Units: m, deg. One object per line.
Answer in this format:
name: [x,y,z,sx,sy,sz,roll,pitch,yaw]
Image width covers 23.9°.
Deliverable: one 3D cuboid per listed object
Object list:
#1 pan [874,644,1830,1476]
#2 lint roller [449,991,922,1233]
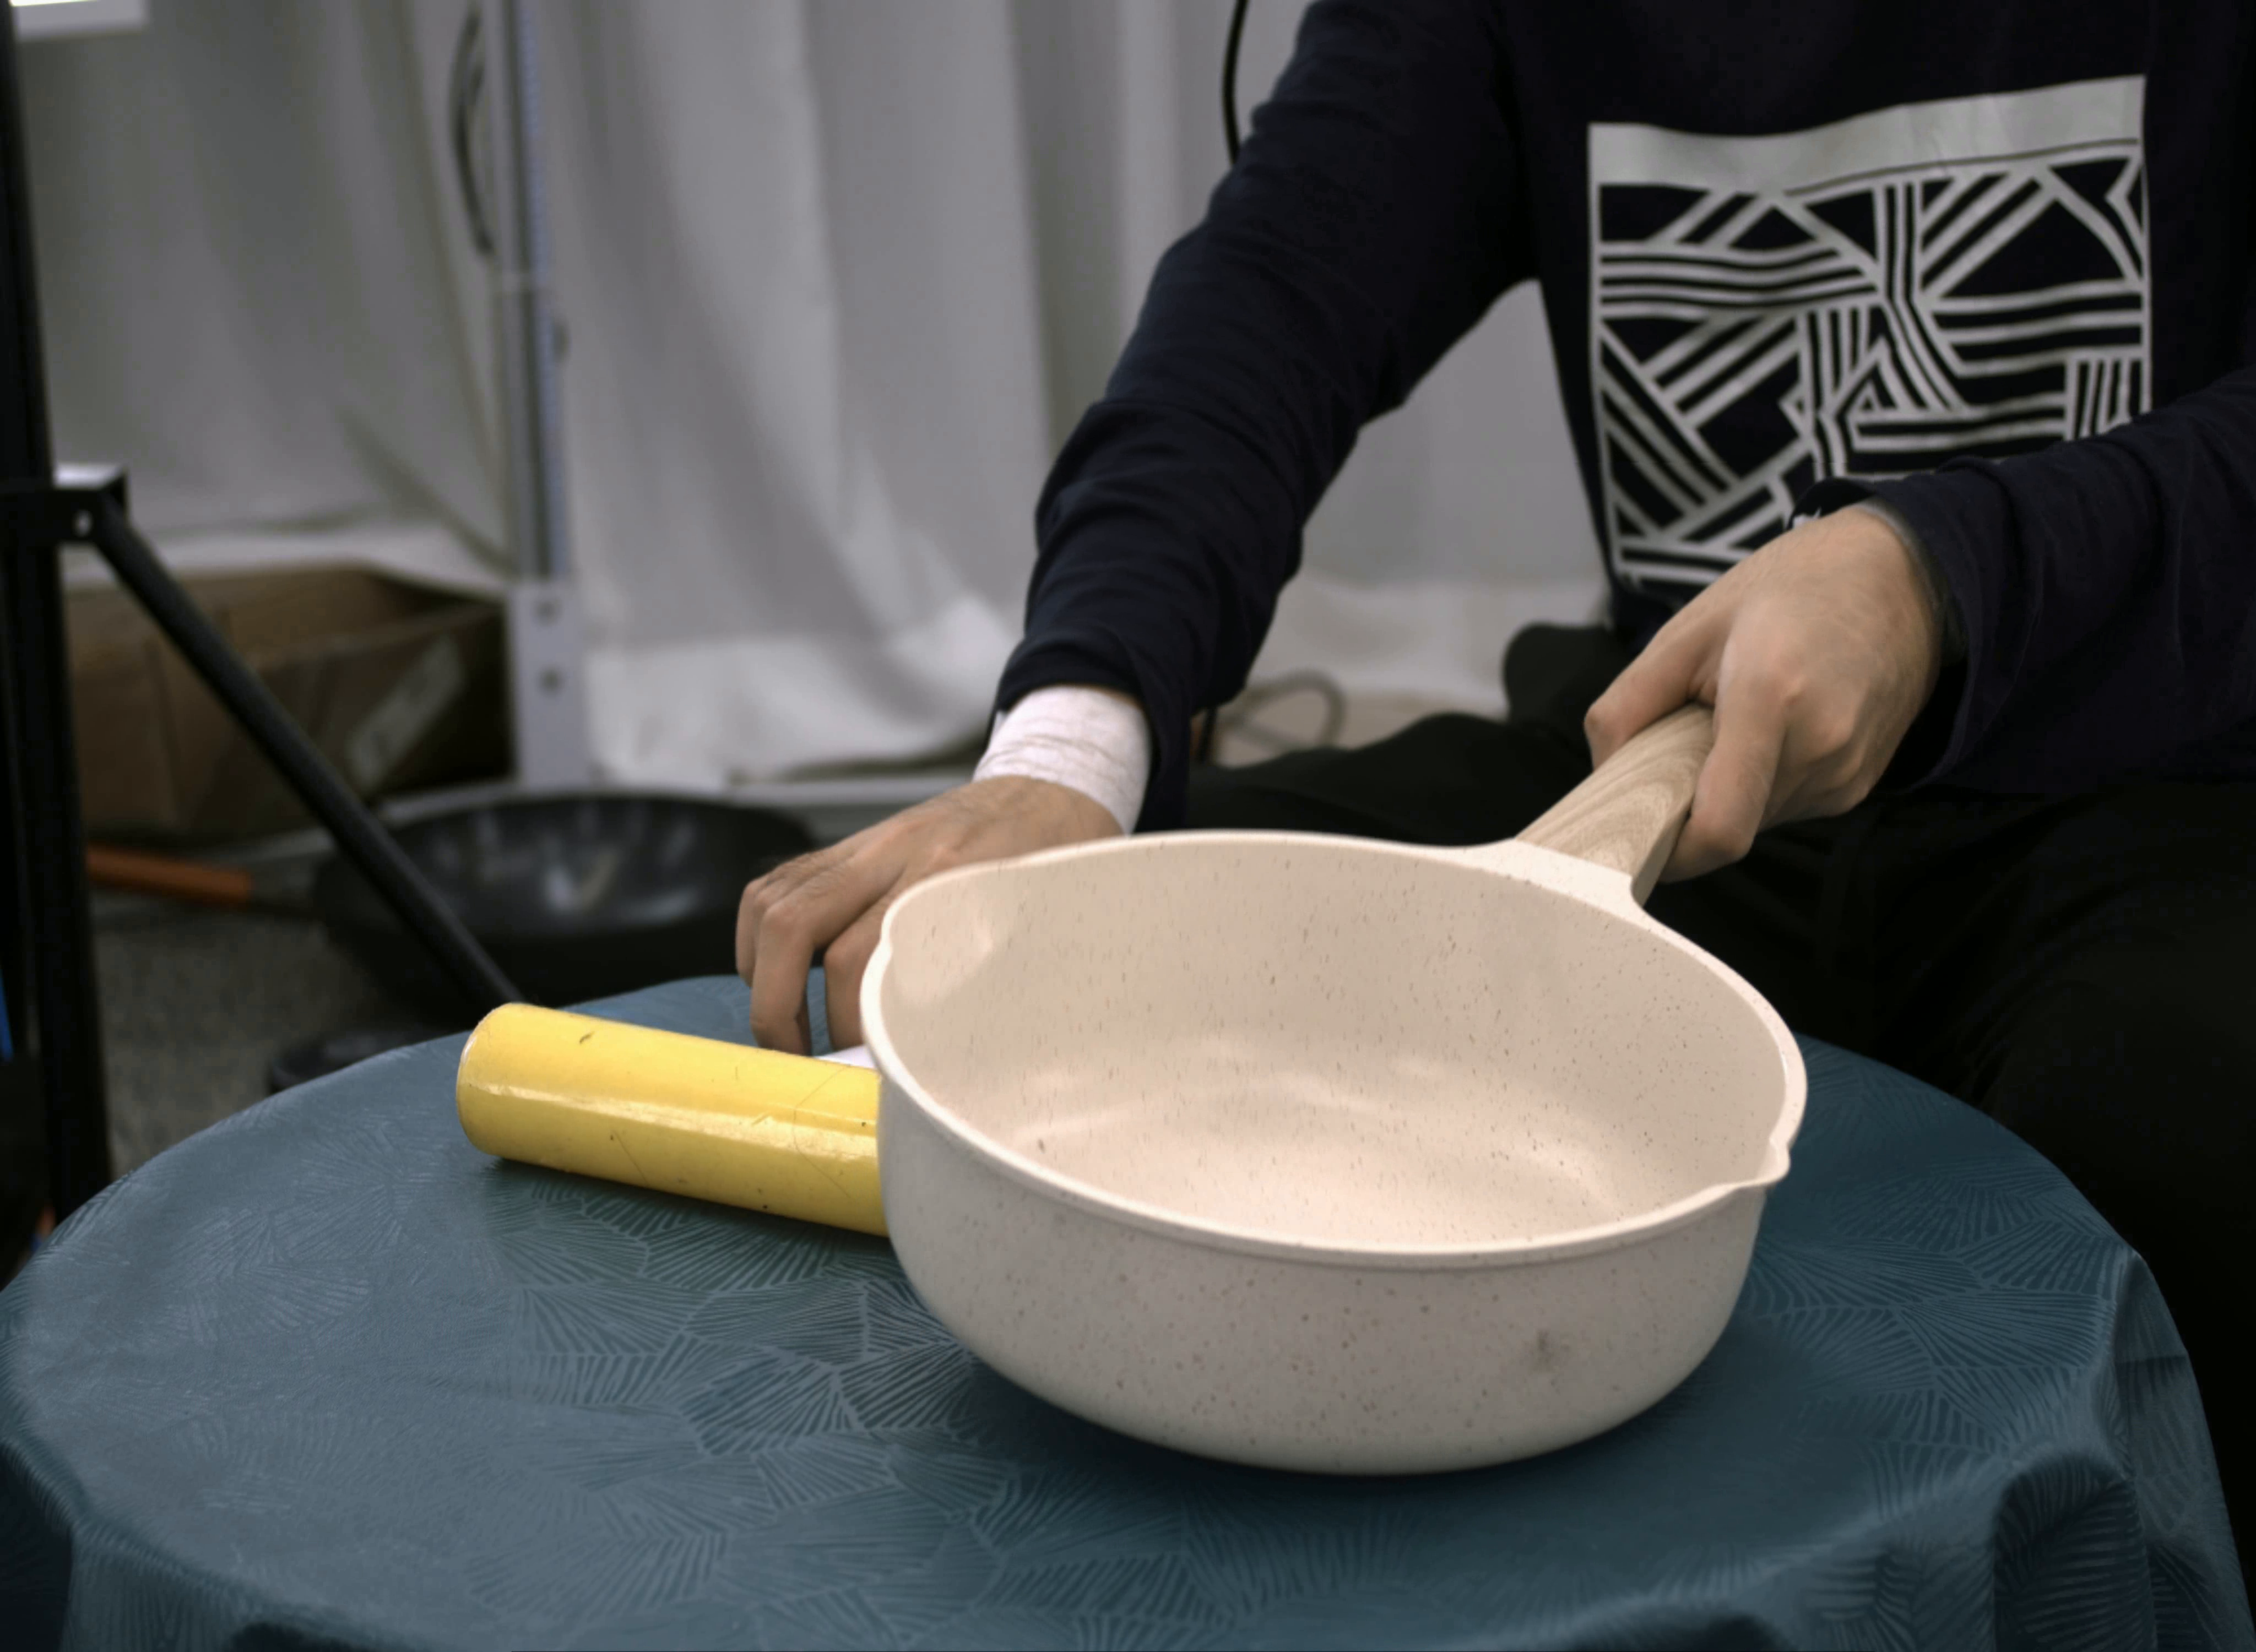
pan: [0.101,0.057,1.478,0.268,0.102,0.427,13,24,28]
lint roller: [-0.085,0.069,1.628,0.178,0.051,0.188,9,18,33]
